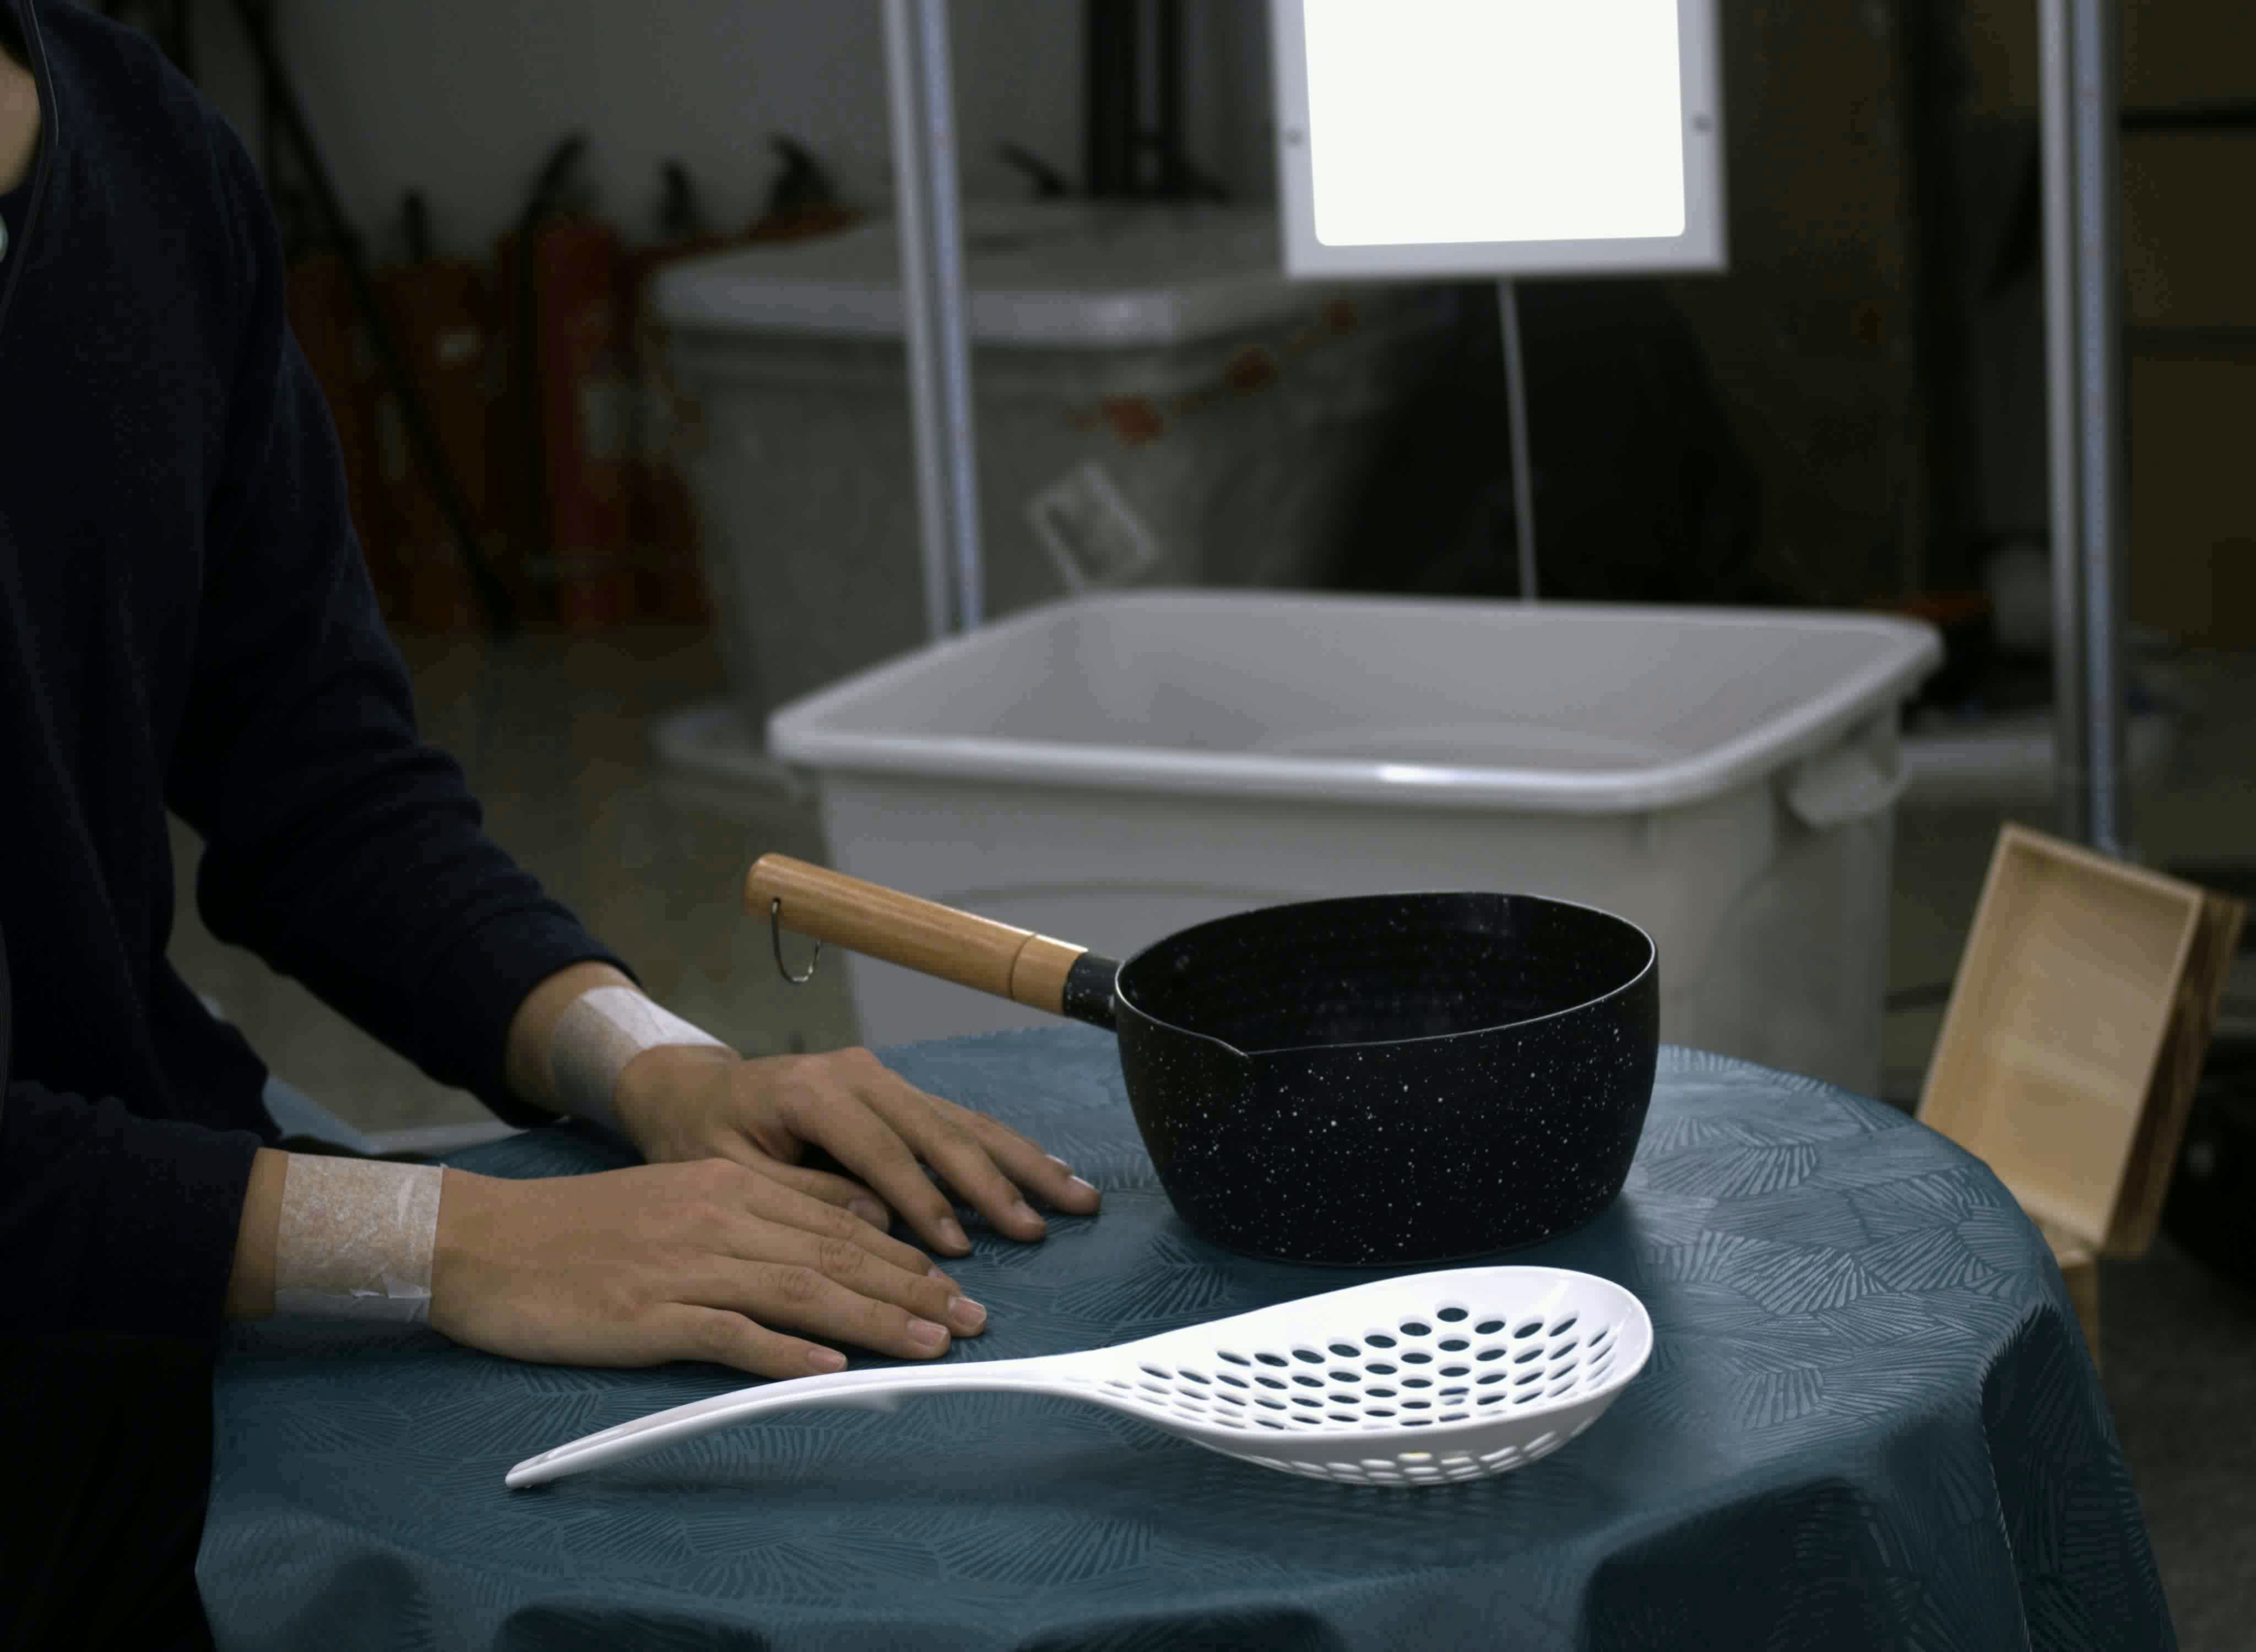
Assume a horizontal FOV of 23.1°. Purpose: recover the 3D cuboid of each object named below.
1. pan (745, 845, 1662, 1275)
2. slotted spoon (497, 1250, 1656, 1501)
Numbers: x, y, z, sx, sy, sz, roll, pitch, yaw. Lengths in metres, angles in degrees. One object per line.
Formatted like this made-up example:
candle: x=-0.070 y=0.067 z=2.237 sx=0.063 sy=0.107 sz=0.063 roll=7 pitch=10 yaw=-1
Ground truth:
pan: x=0.018 y=0.071 z=1.889 sx=0.349 sy=0.108 sz=0.203 roll=4 pitch=17 yaw=28
slotted spoon: x=-0.017 y=0.172 z=1.629 sx=0.349 sy=0.050 sz=0.135 roll=-1 pitch=16 yaw=9
